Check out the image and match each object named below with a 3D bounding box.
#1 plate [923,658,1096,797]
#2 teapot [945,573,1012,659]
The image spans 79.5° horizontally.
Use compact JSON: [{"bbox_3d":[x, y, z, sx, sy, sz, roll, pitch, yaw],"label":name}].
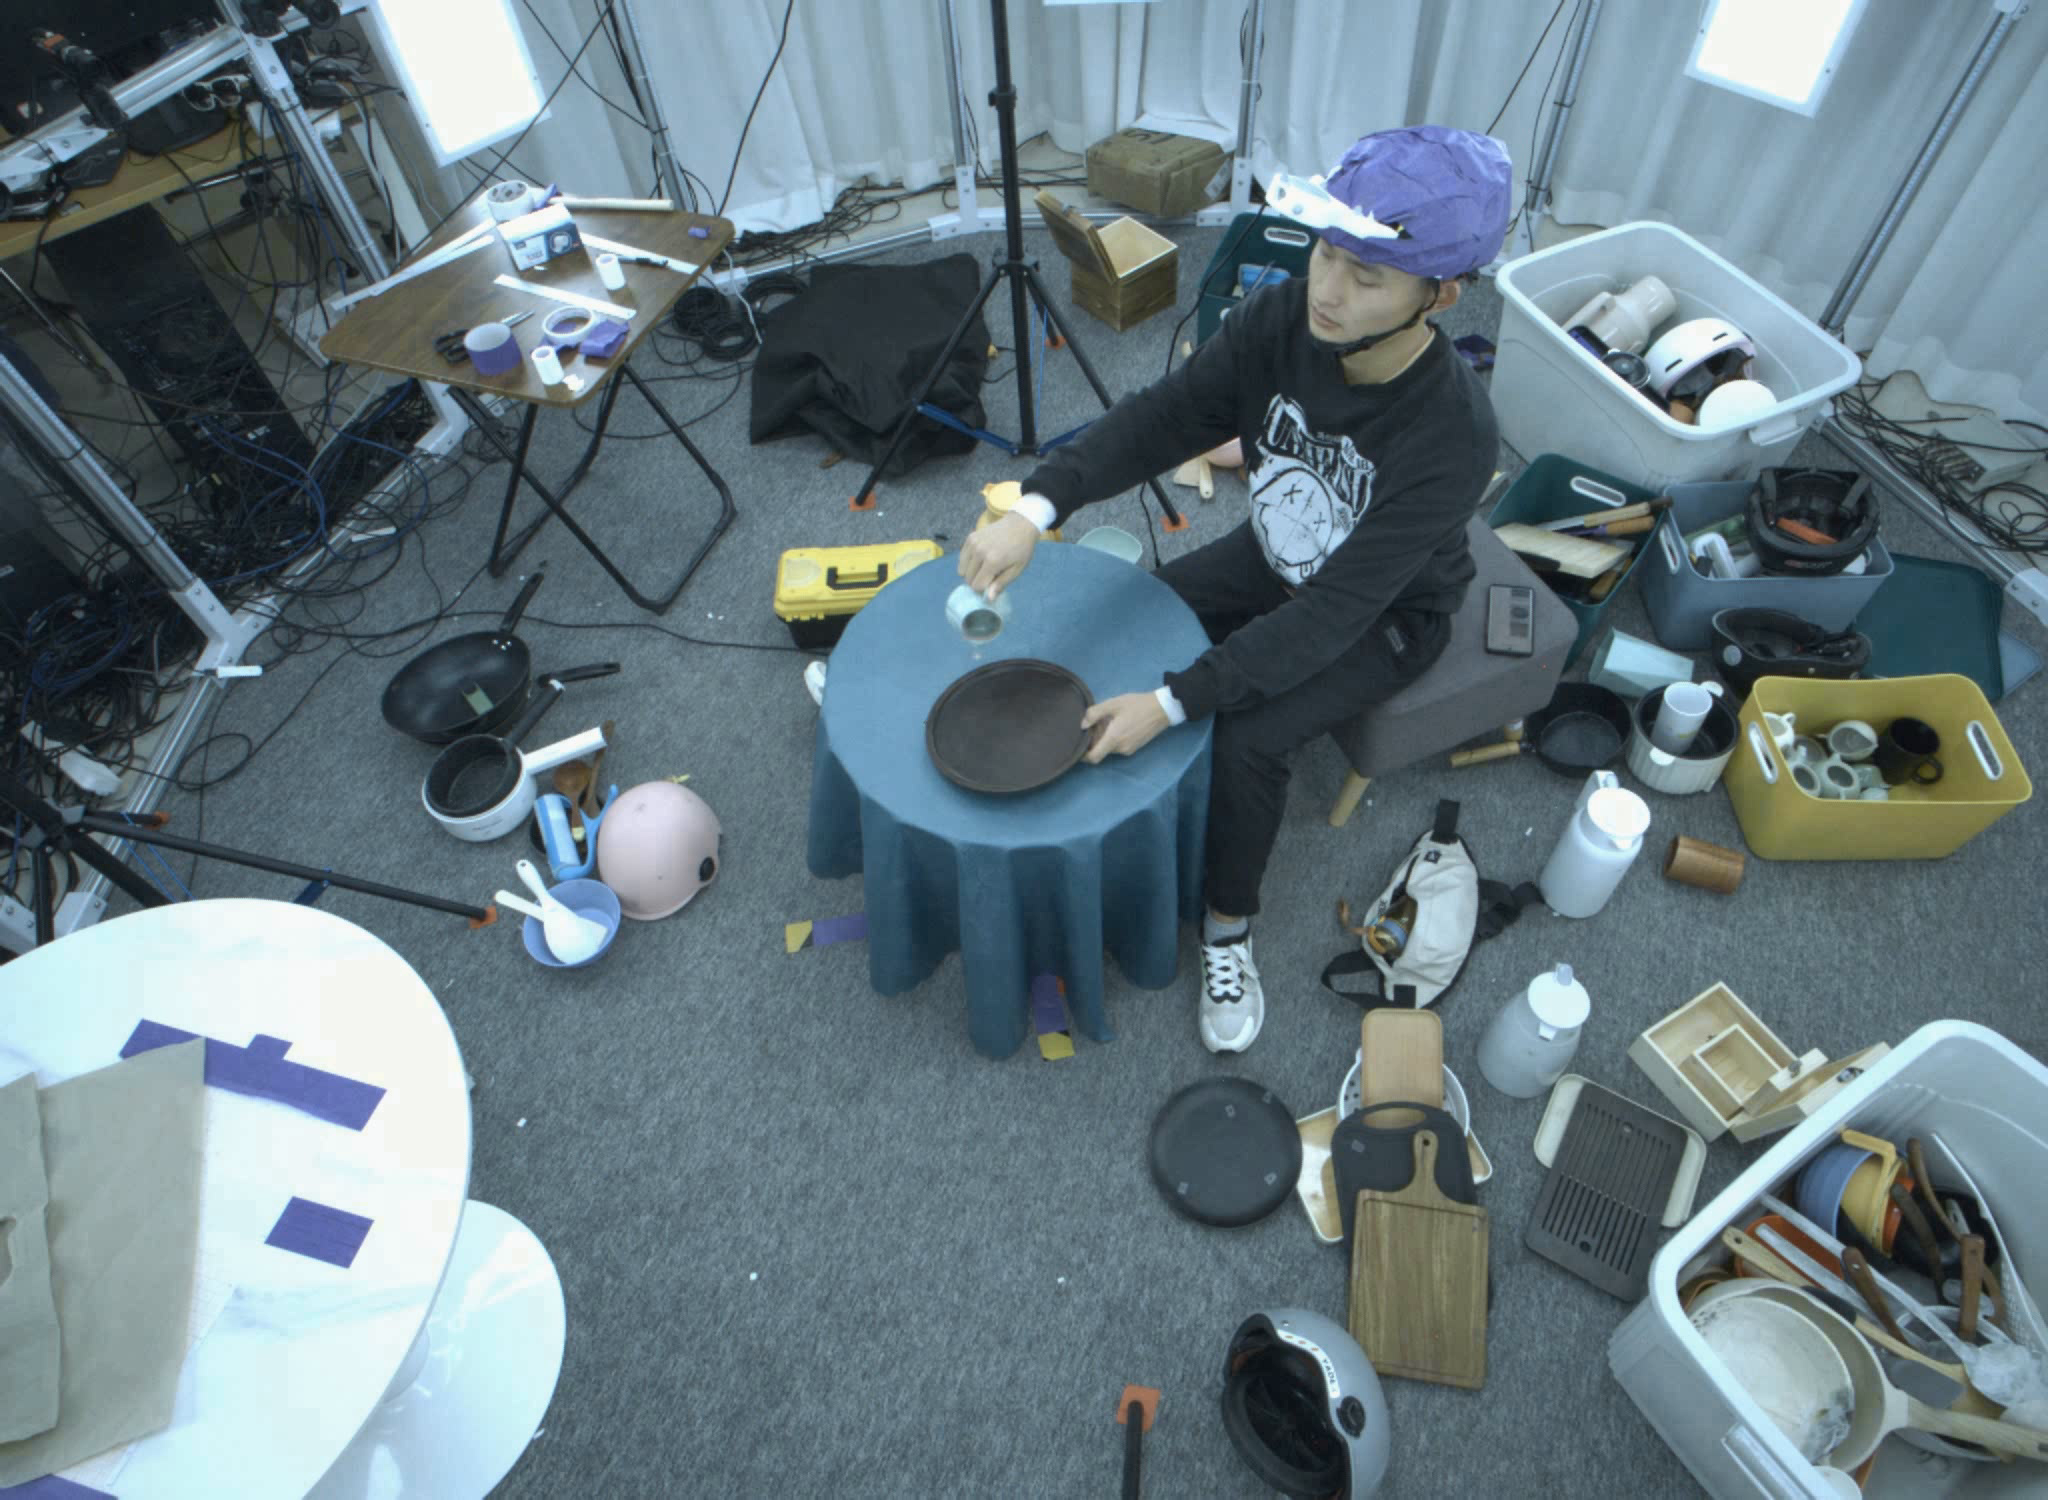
[{"bbox_3d":[-0.020,-0.034,1.779,0.253,0.029,0.252,-5,51,7],"label":"plate"},{"bbox_3d":[-0.064,-0.199,1.749,0.097,0.138,0.060,1,45,-9],"label":"teapot"}]
